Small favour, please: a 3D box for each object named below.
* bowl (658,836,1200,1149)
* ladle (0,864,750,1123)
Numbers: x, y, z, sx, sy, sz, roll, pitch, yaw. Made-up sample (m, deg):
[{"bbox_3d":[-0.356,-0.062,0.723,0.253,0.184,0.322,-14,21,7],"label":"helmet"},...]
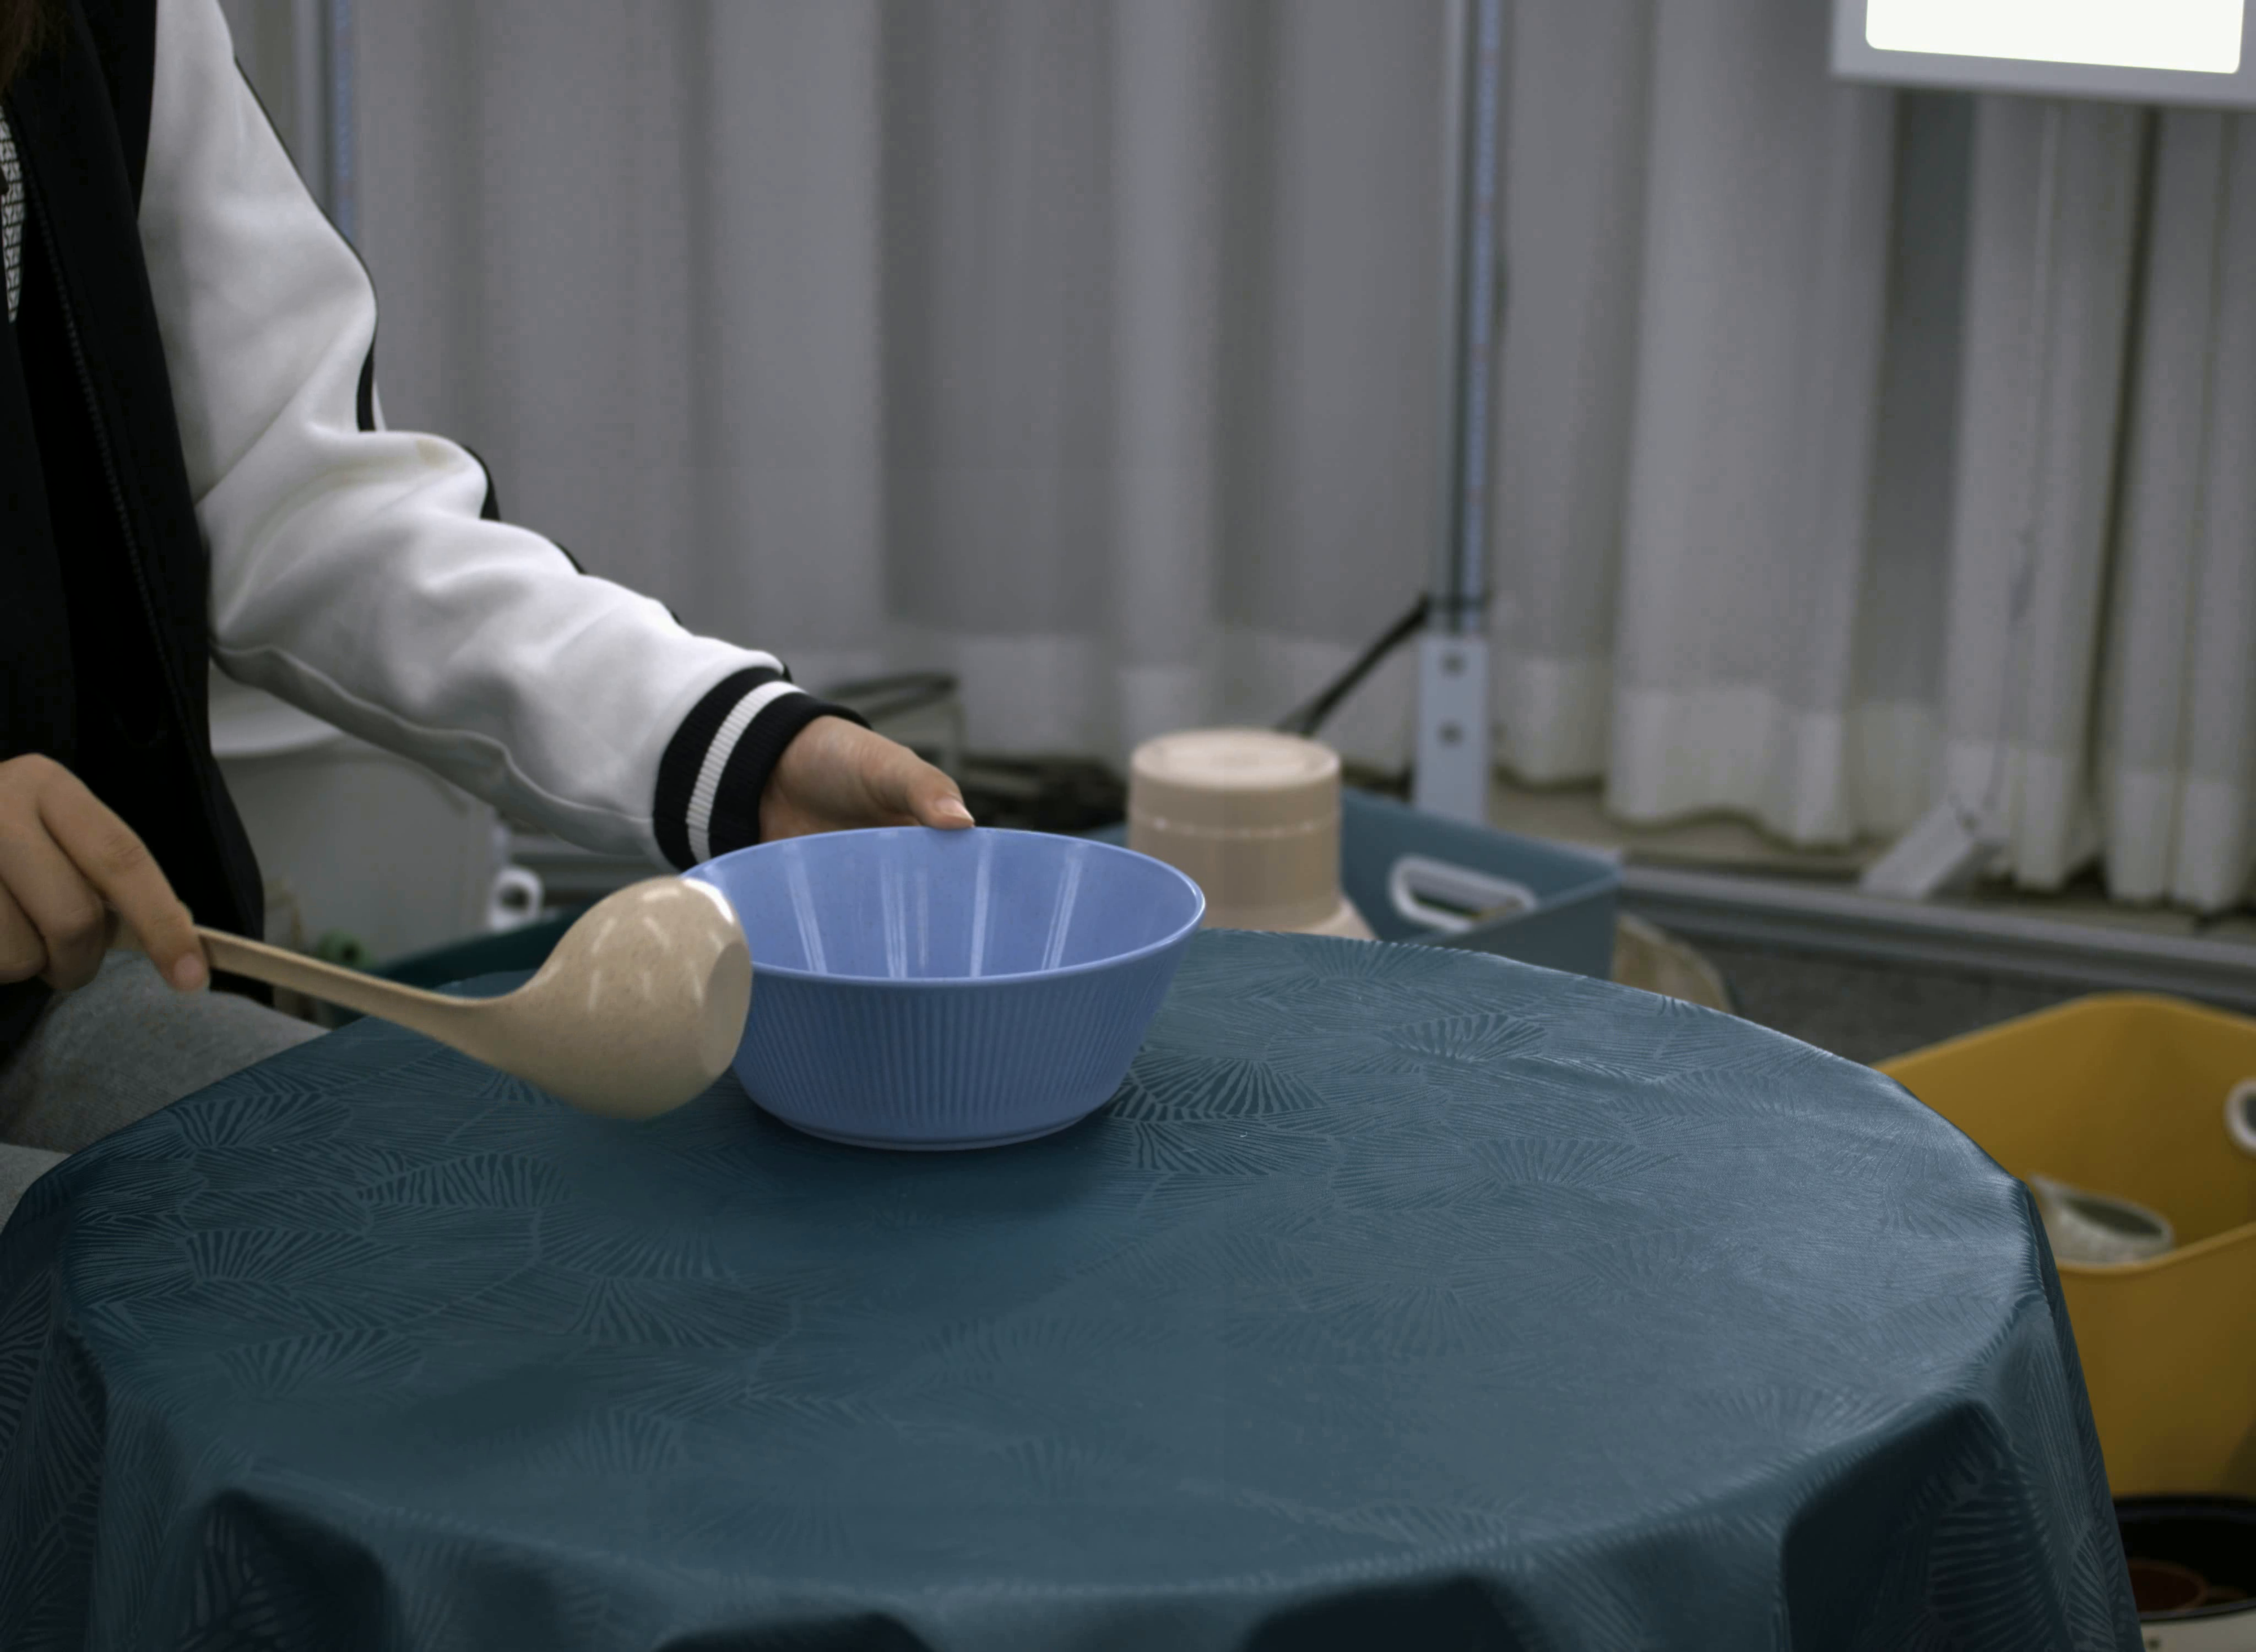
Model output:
[{"bbox_3d":[-0.064,0.055,1.693,0.175,0.071,0.175,1,15,0],"label":"bowl"},{"bbox_3d":[-0.230,0.023,1.512,0.252,0.073,0.072,16,47,16],"label":"ladle"}]
